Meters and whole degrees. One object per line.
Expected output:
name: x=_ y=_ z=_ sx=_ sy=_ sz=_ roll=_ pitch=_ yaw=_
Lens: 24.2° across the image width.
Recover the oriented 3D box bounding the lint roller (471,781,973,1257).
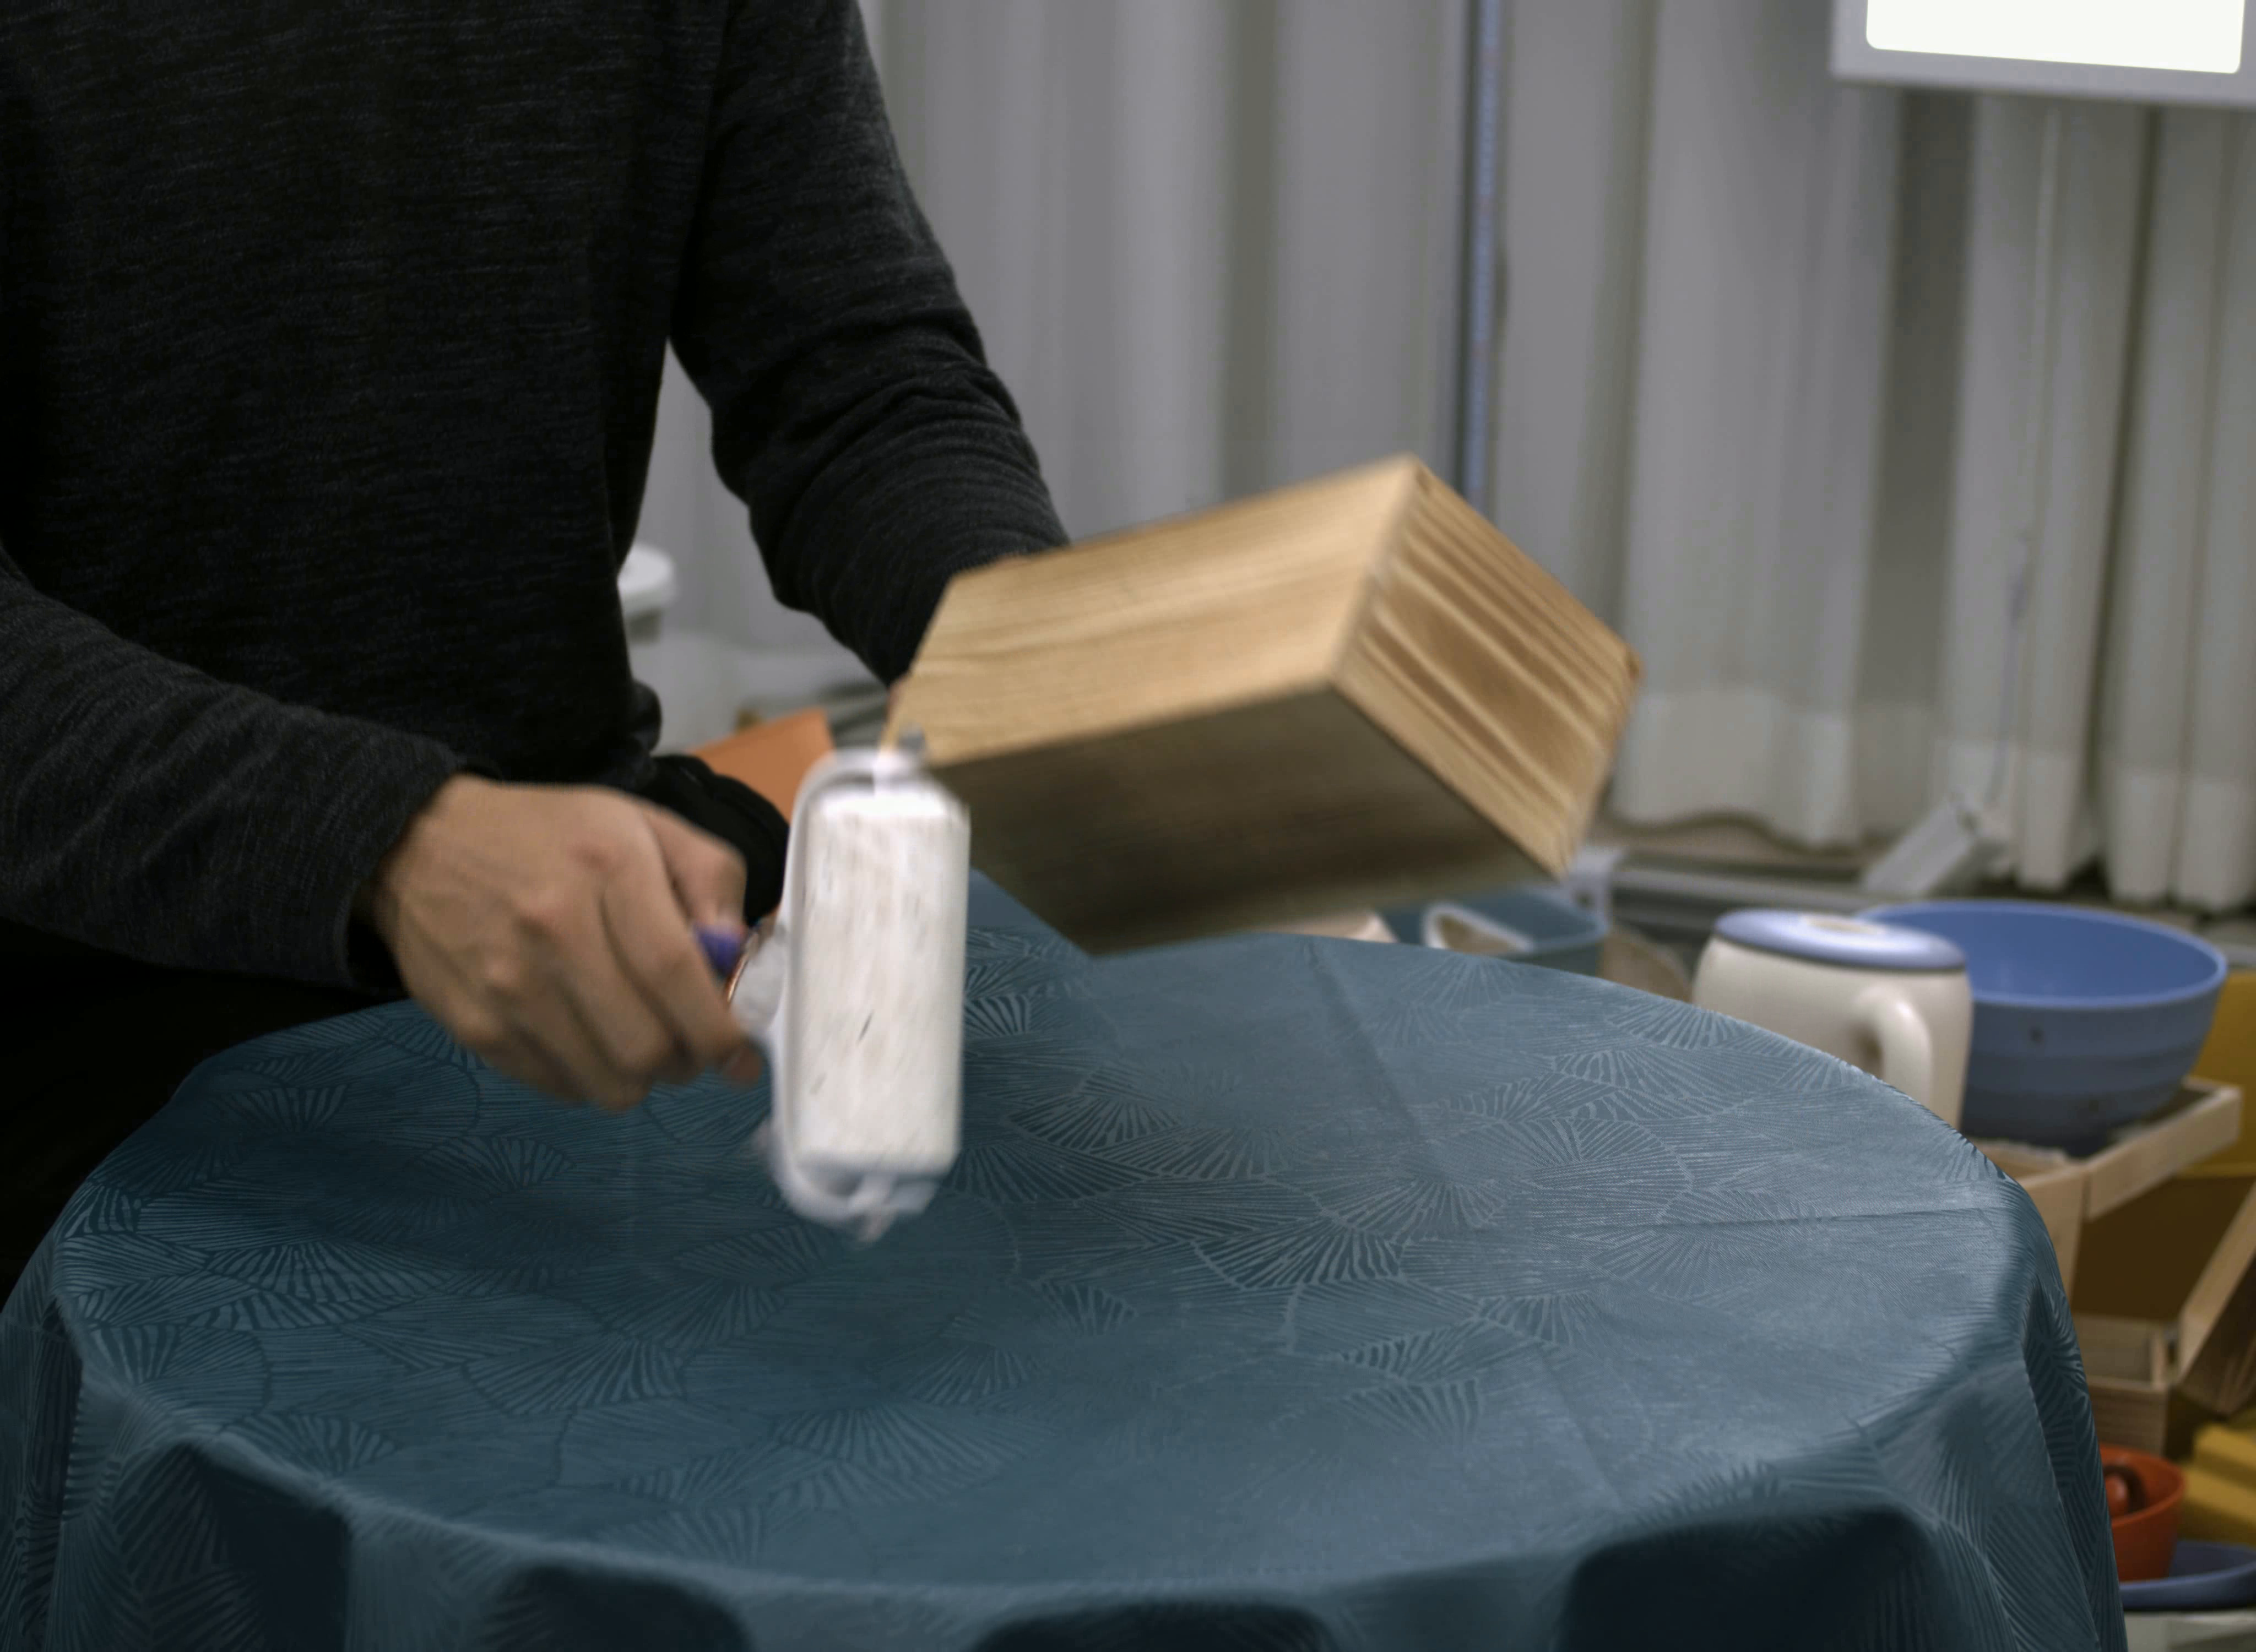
lint roller: x=-0.127 y=0.050 z=1.511 sx=0.179 sy=0.133 sz=0.050 roll=5 pitch=-4 yaw=30

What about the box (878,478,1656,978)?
box: x=0.039 y=-0.025 z=1.580 sx=0.209 sy=0.080 sz=0.109 roll=-10 pitch=-40 yaw=46
